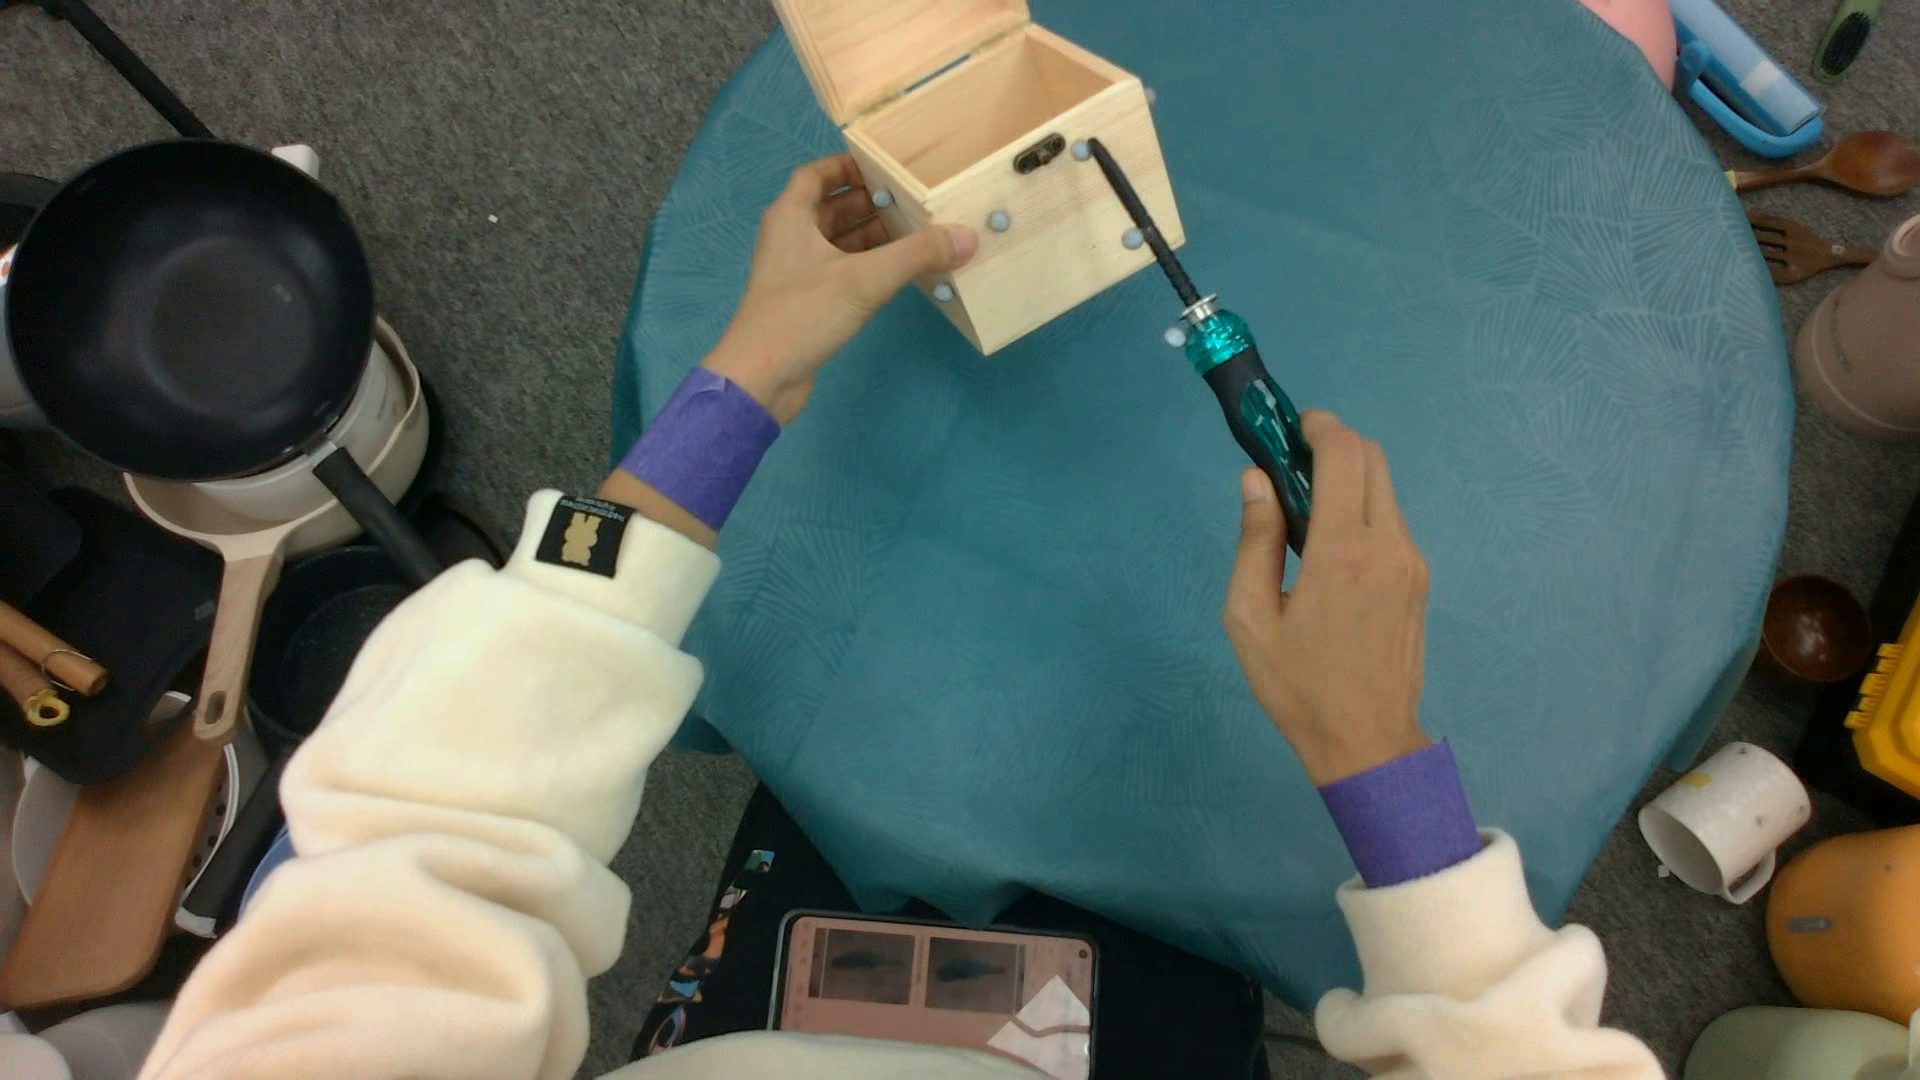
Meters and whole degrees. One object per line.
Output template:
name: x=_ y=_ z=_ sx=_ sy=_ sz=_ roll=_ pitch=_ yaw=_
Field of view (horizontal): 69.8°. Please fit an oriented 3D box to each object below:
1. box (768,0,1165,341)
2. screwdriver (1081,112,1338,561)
box: x=-0.006 y=-0.202 z=0.580 sx=0.103 sy=0.184 sz=0.134 roll=-29 pitch=36 yaw=-6
screwdriver: x=0.093 y=-0.079 z=0.529 sx=0.034 sy=0.033 sz=0.190 roll=-28 pitch=92 yaw=-9
